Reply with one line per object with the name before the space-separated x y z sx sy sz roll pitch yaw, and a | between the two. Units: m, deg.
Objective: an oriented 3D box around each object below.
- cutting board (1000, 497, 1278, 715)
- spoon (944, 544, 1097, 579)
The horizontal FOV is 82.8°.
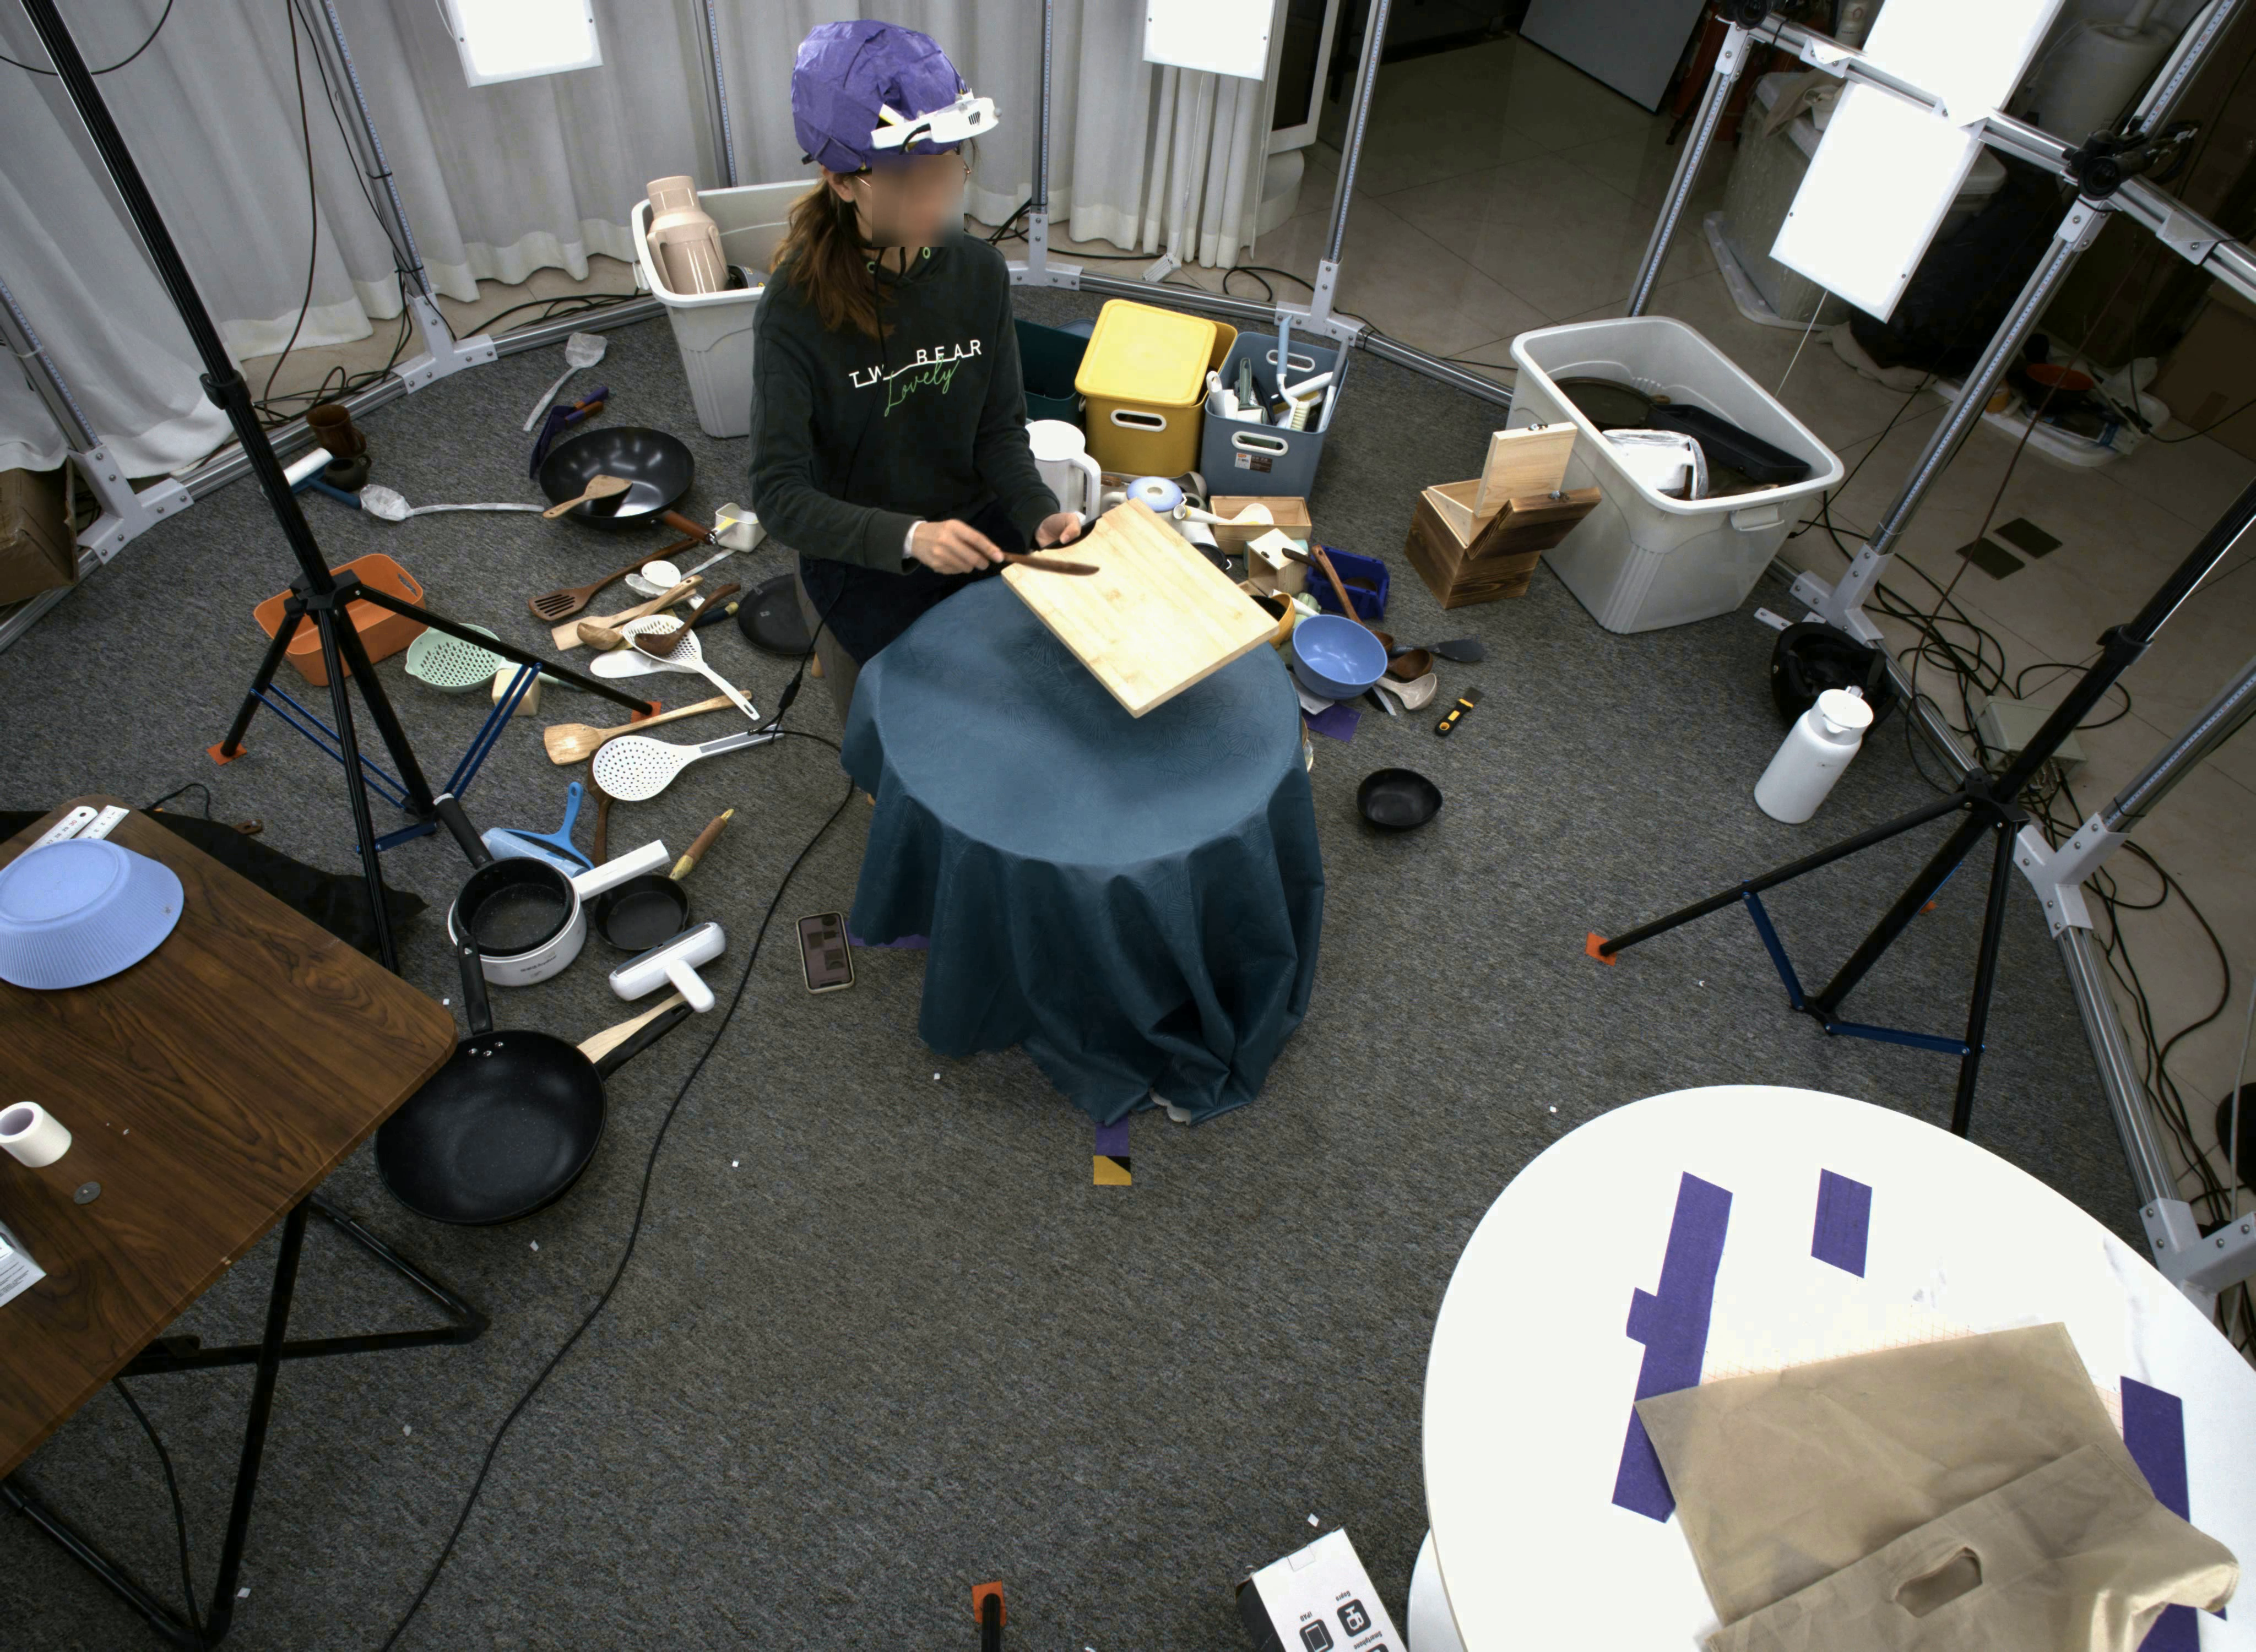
cutting board | 0.009 -0.317 1.808 0.252 0.023 0.355 -32 55 -16
spoon | -0.141 -0.340 1.664 0.217 0.017 0.076 14 17 20
